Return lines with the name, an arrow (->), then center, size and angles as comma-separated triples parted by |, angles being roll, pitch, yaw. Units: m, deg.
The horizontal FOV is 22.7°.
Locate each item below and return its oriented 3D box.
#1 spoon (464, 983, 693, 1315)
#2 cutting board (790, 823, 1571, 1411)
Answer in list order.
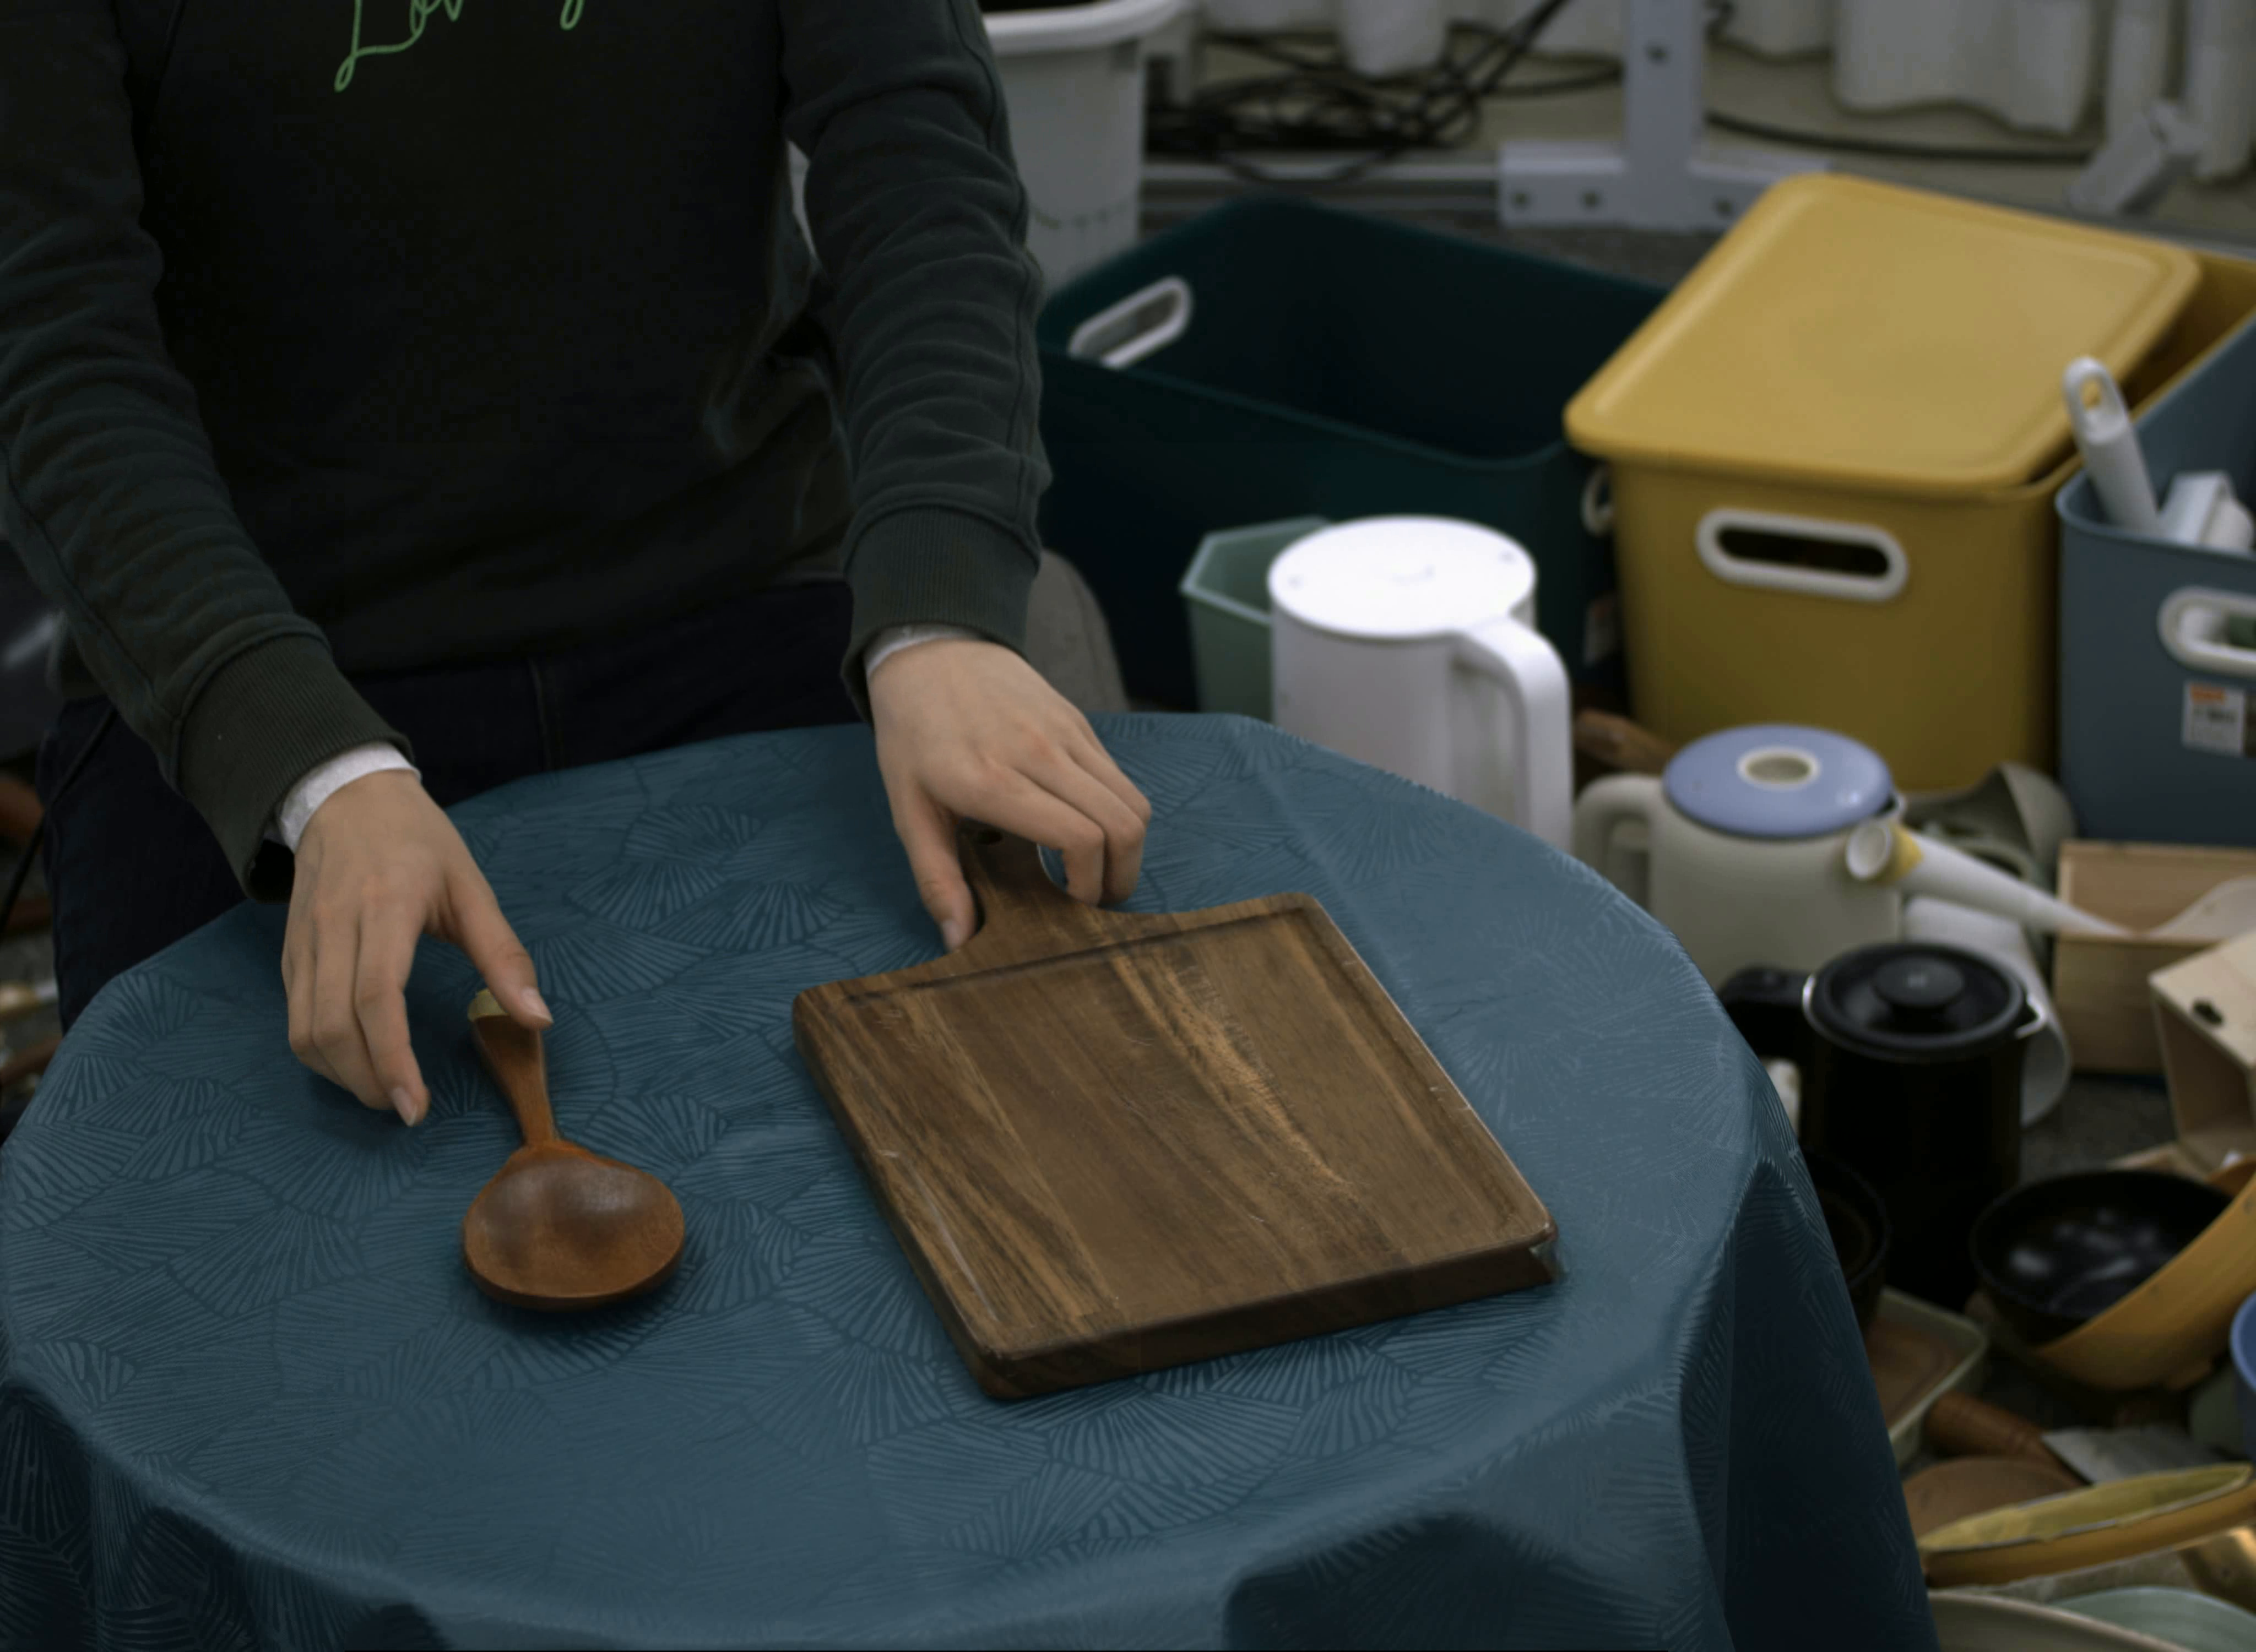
spoon -> -0.195, 0.109, 1.886 | 0.075, 0.017, 0.218 | -11, 29, -11
cutting board -> -0.003, 0.082, 1.919 | 0.201, 0.023, 0.355 | -11, 28, -14
